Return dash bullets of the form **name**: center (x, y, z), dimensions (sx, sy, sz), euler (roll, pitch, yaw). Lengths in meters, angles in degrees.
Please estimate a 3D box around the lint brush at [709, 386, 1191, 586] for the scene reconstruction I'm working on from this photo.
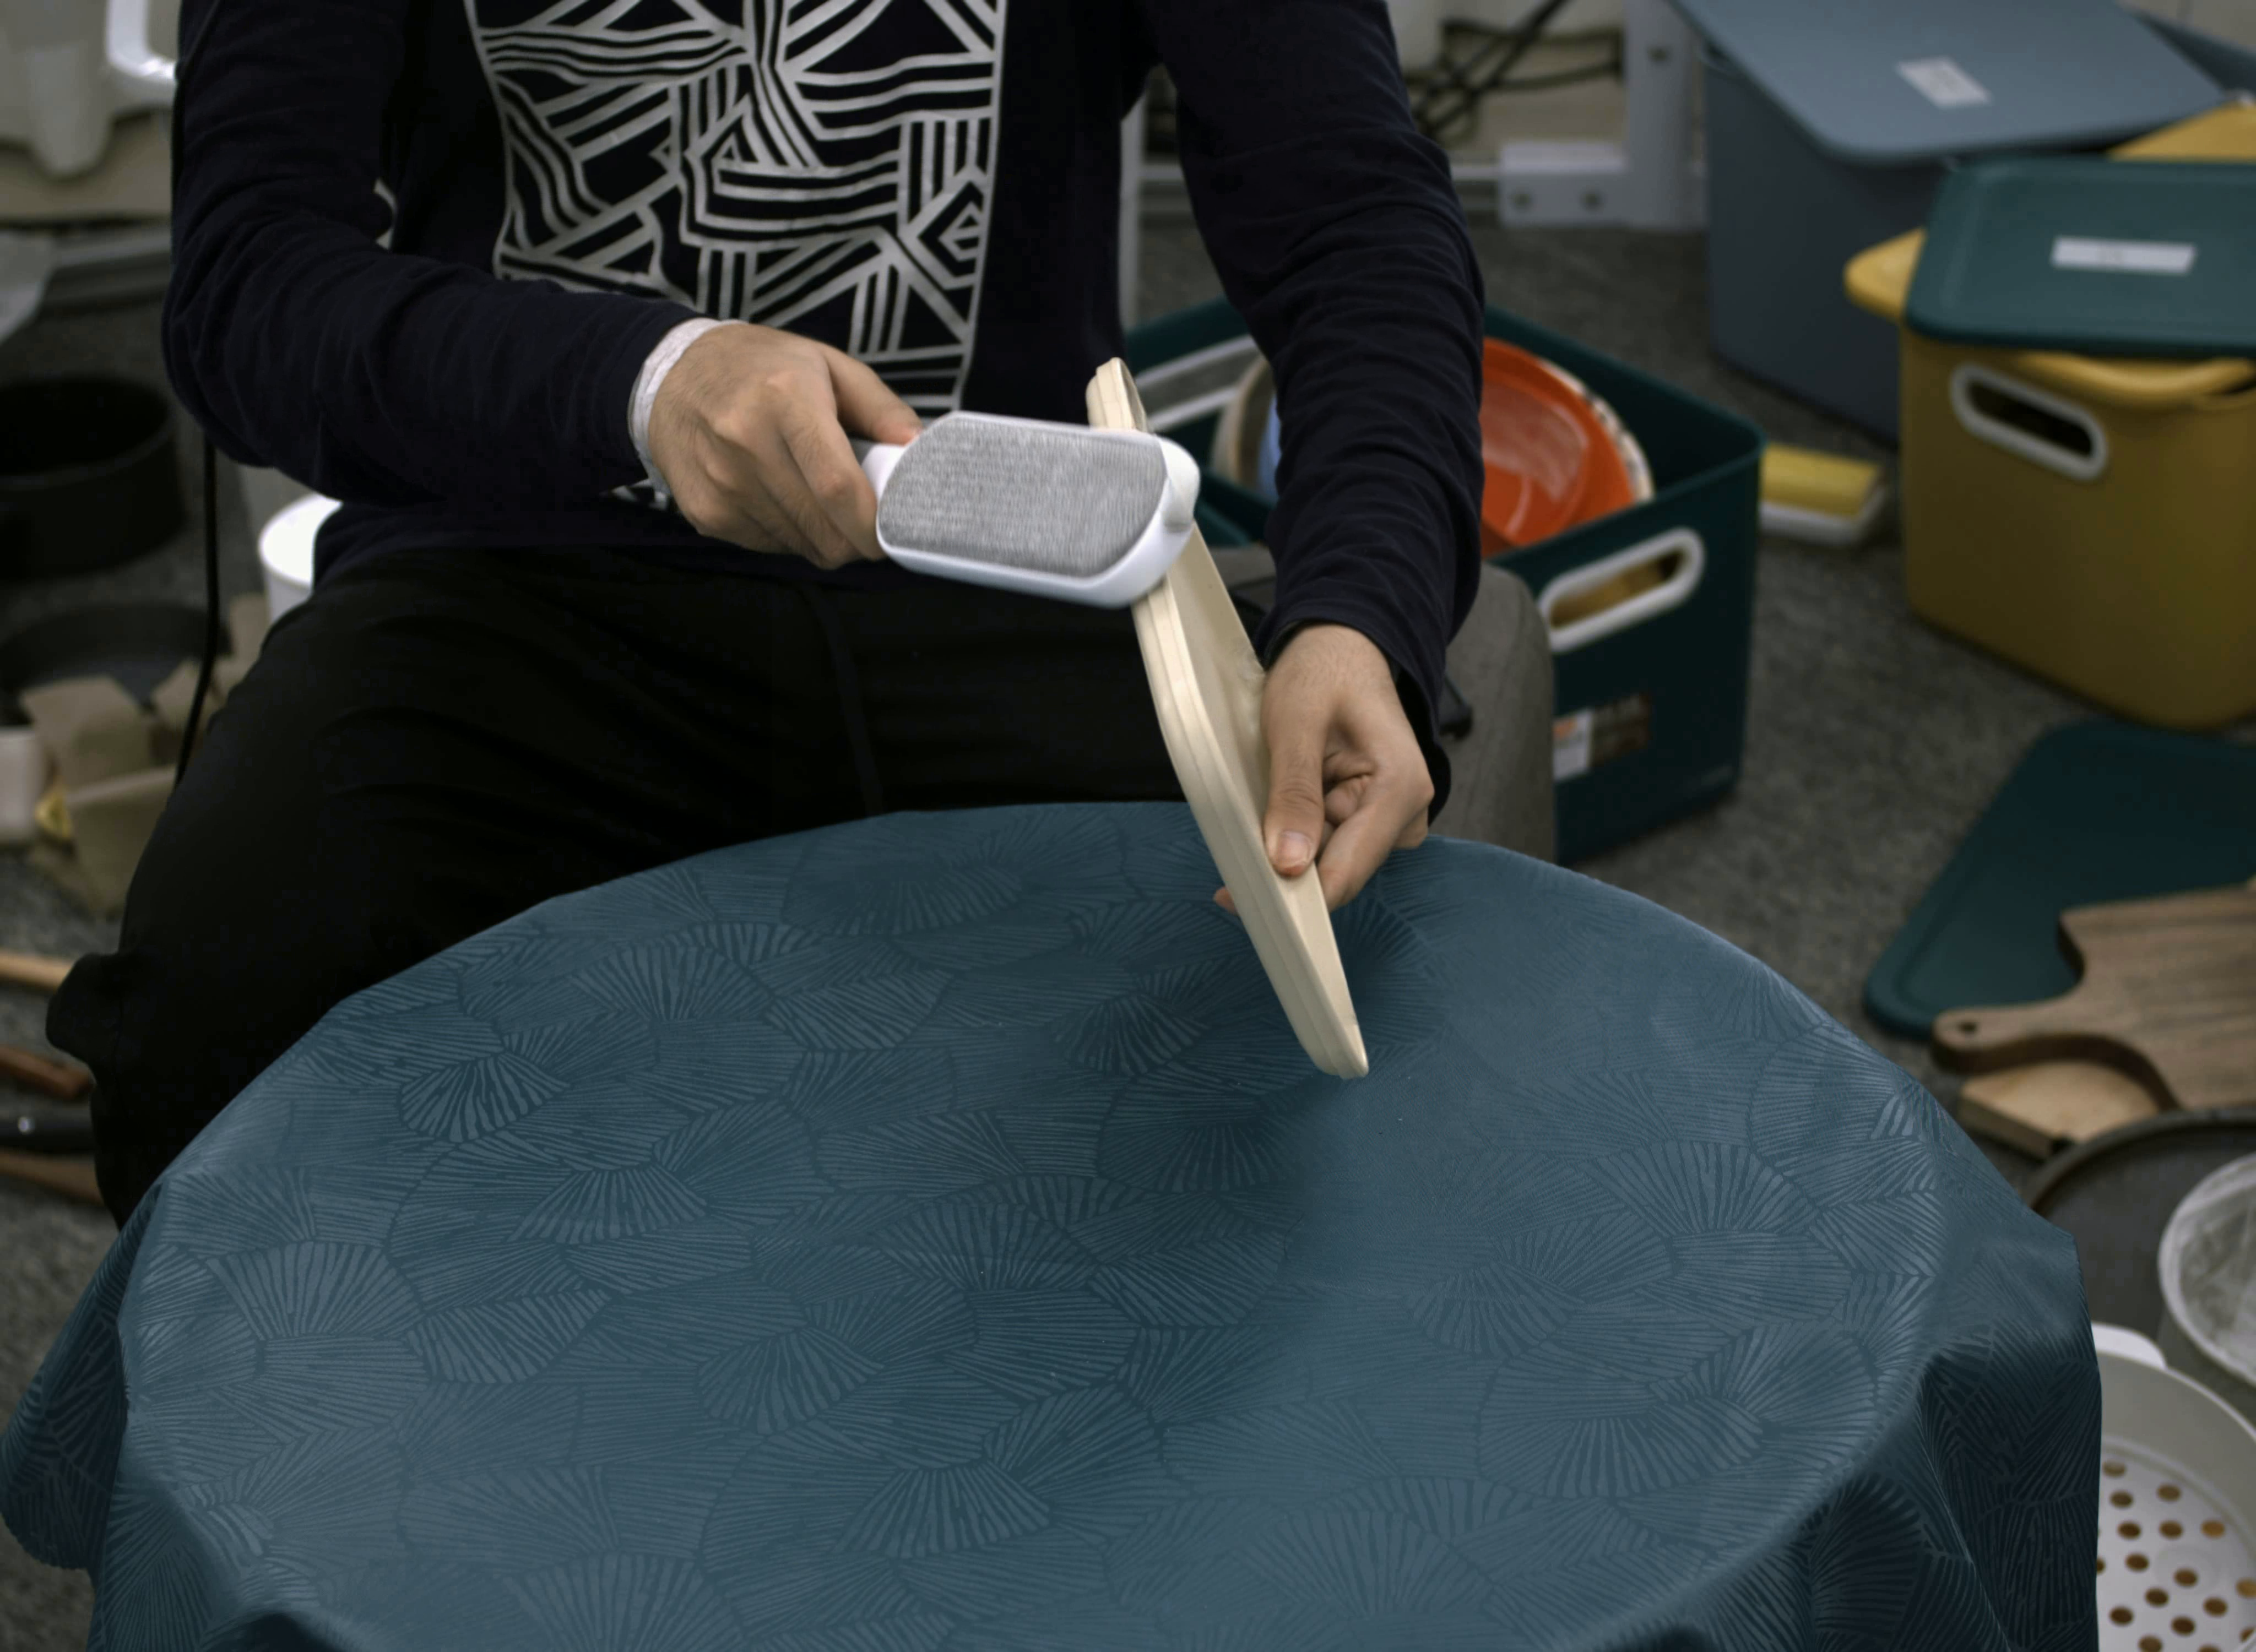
- **lint brush**: center (-0.066, -0.120, 1.908), dimensions (0.021, 0.060, 0.307), euler (27, -7, -31)

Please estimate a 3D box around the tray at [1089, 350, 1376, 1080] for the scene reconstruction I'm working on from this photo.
- **tray**: center (0.032, -0.037, 1.862), dimensions (0.017, 0.169, 0.244), euler (-21, 37, 6)
